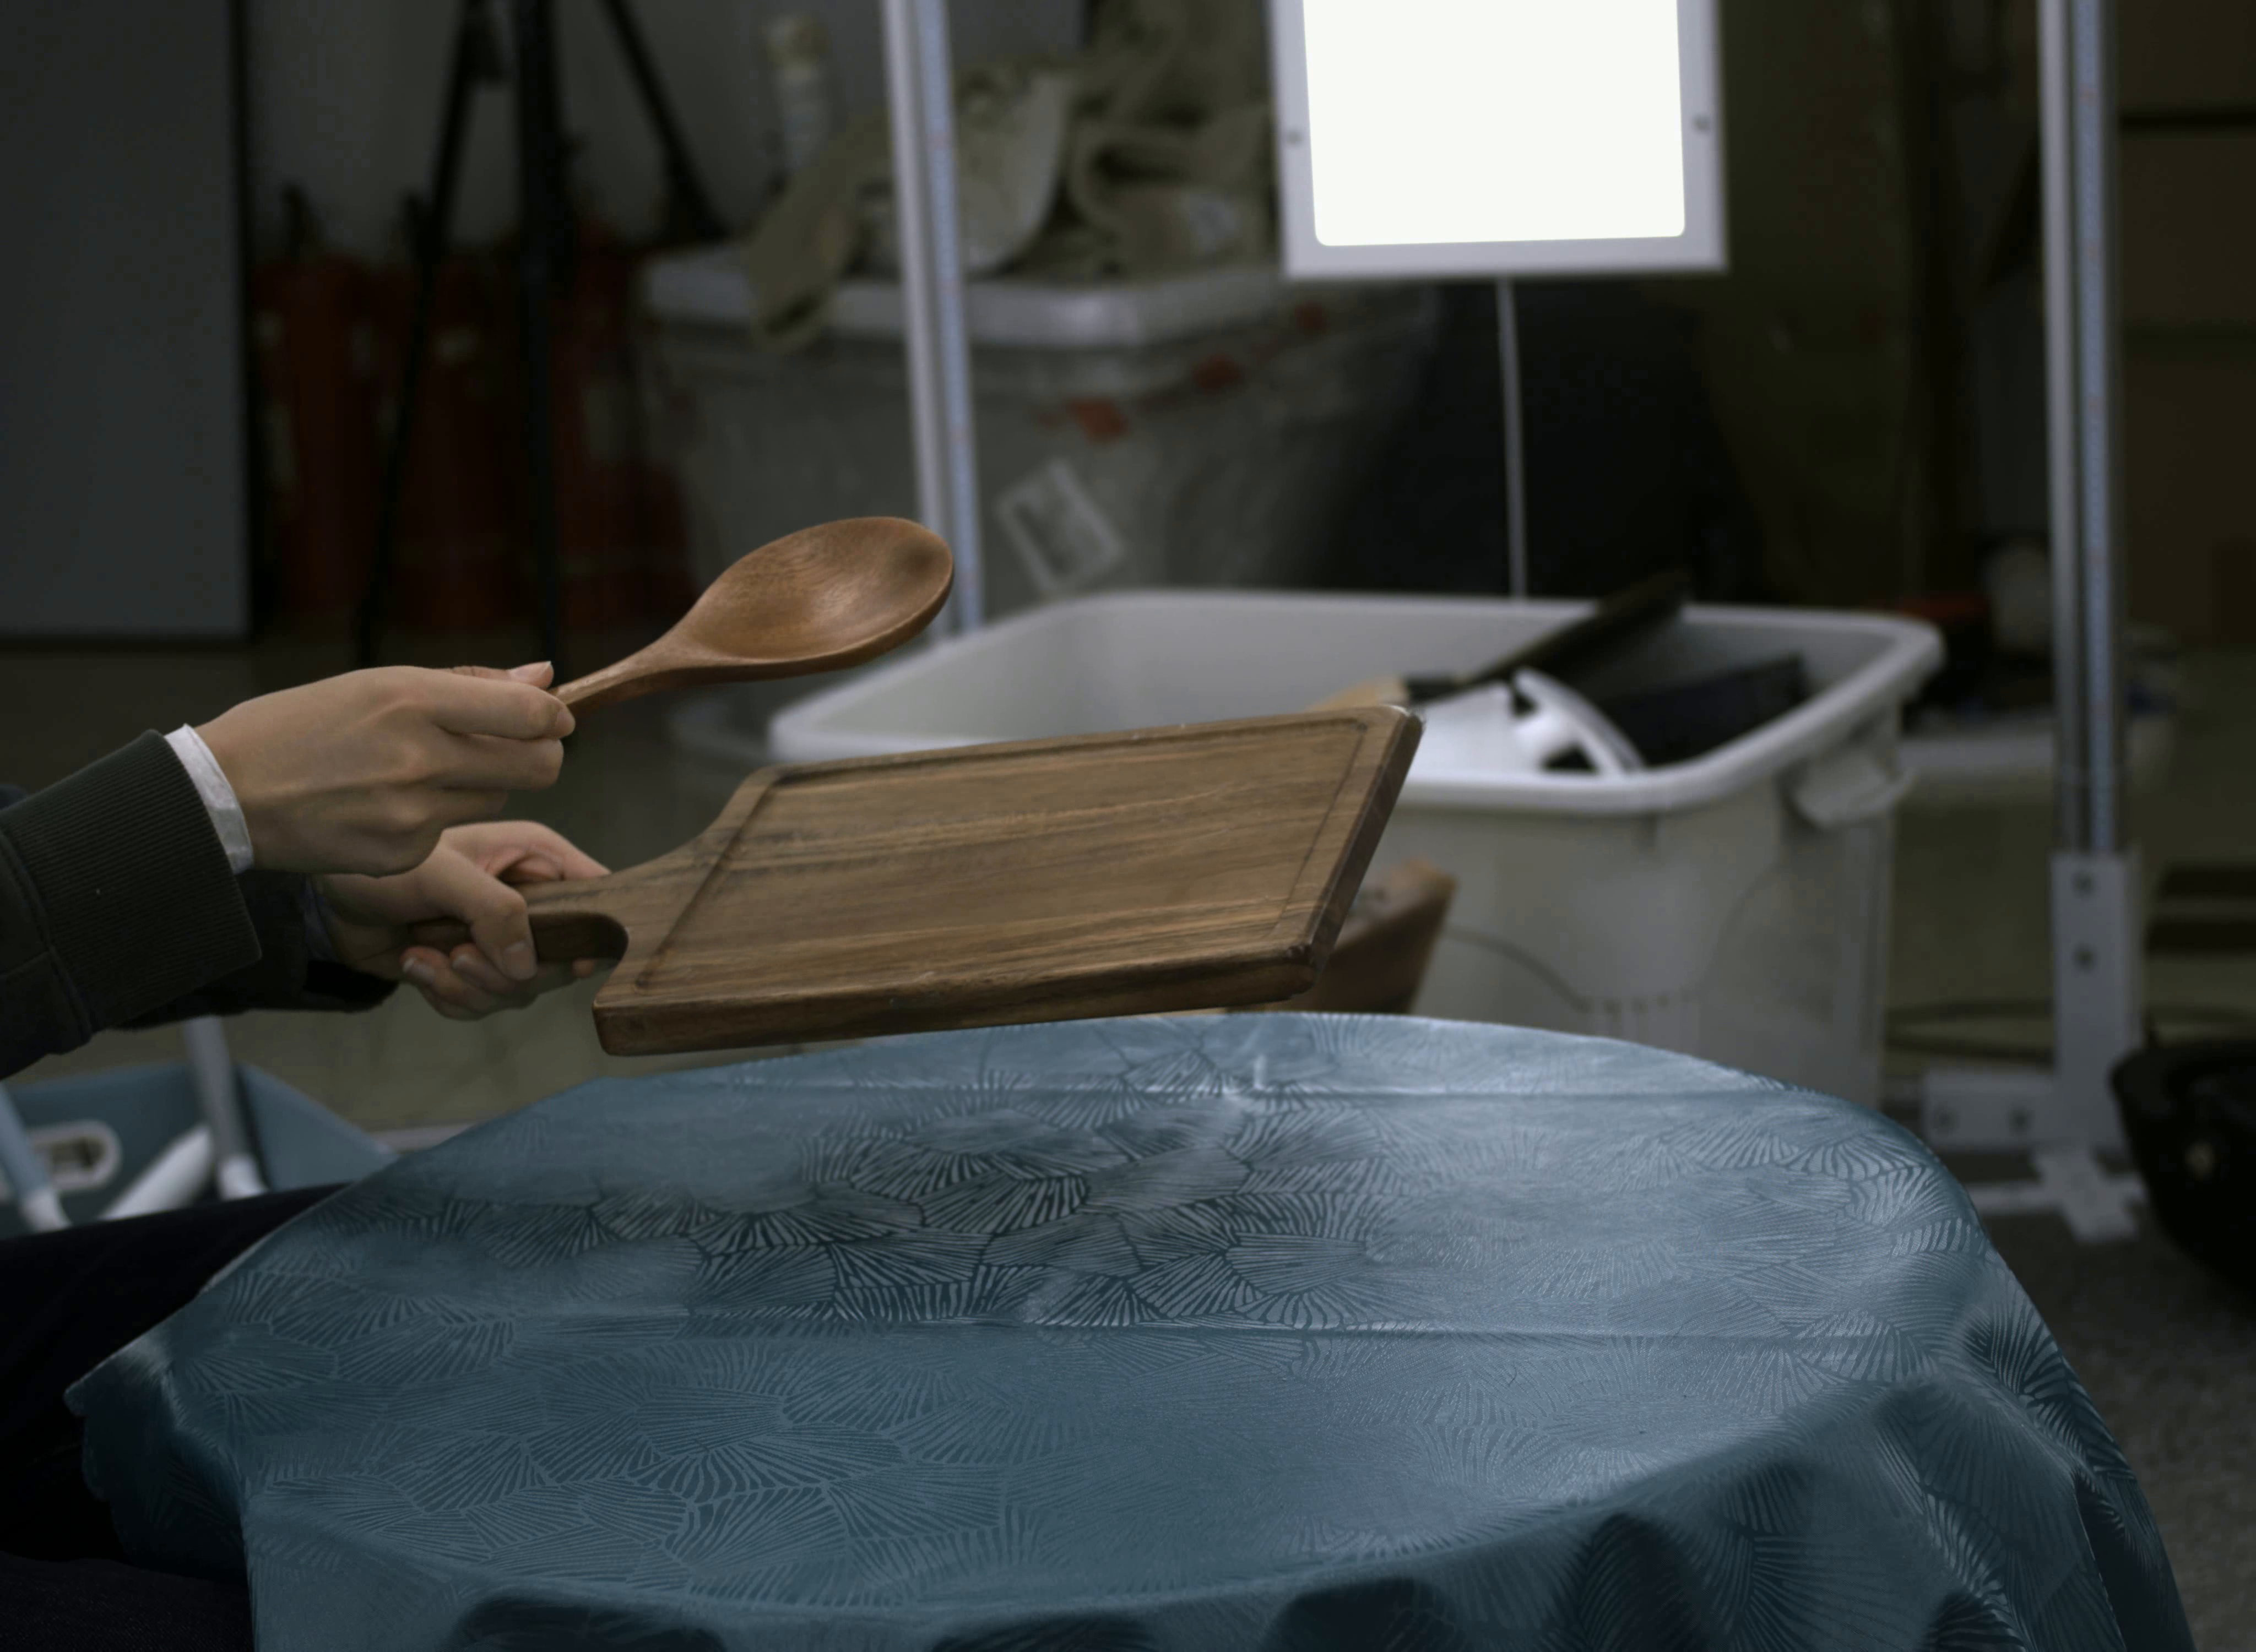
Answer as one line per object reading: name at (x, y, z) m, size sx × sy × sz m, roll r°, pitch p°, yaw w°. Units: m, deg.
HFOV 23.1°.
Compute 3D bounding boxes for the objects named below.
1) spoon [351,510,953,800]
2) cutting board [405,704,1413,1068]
spoon at (-0.158, -0.053, 1.841) m, size 0.213 × 0.017 × 0.076 m, roll -22°, pitch 43°, yaw -12°
cutting board at (-0.086, 0.023, 1.899) m, size 0.356 × 0.023 × 0.198 m, roll -6°, pitch 25°, yaw 19°
